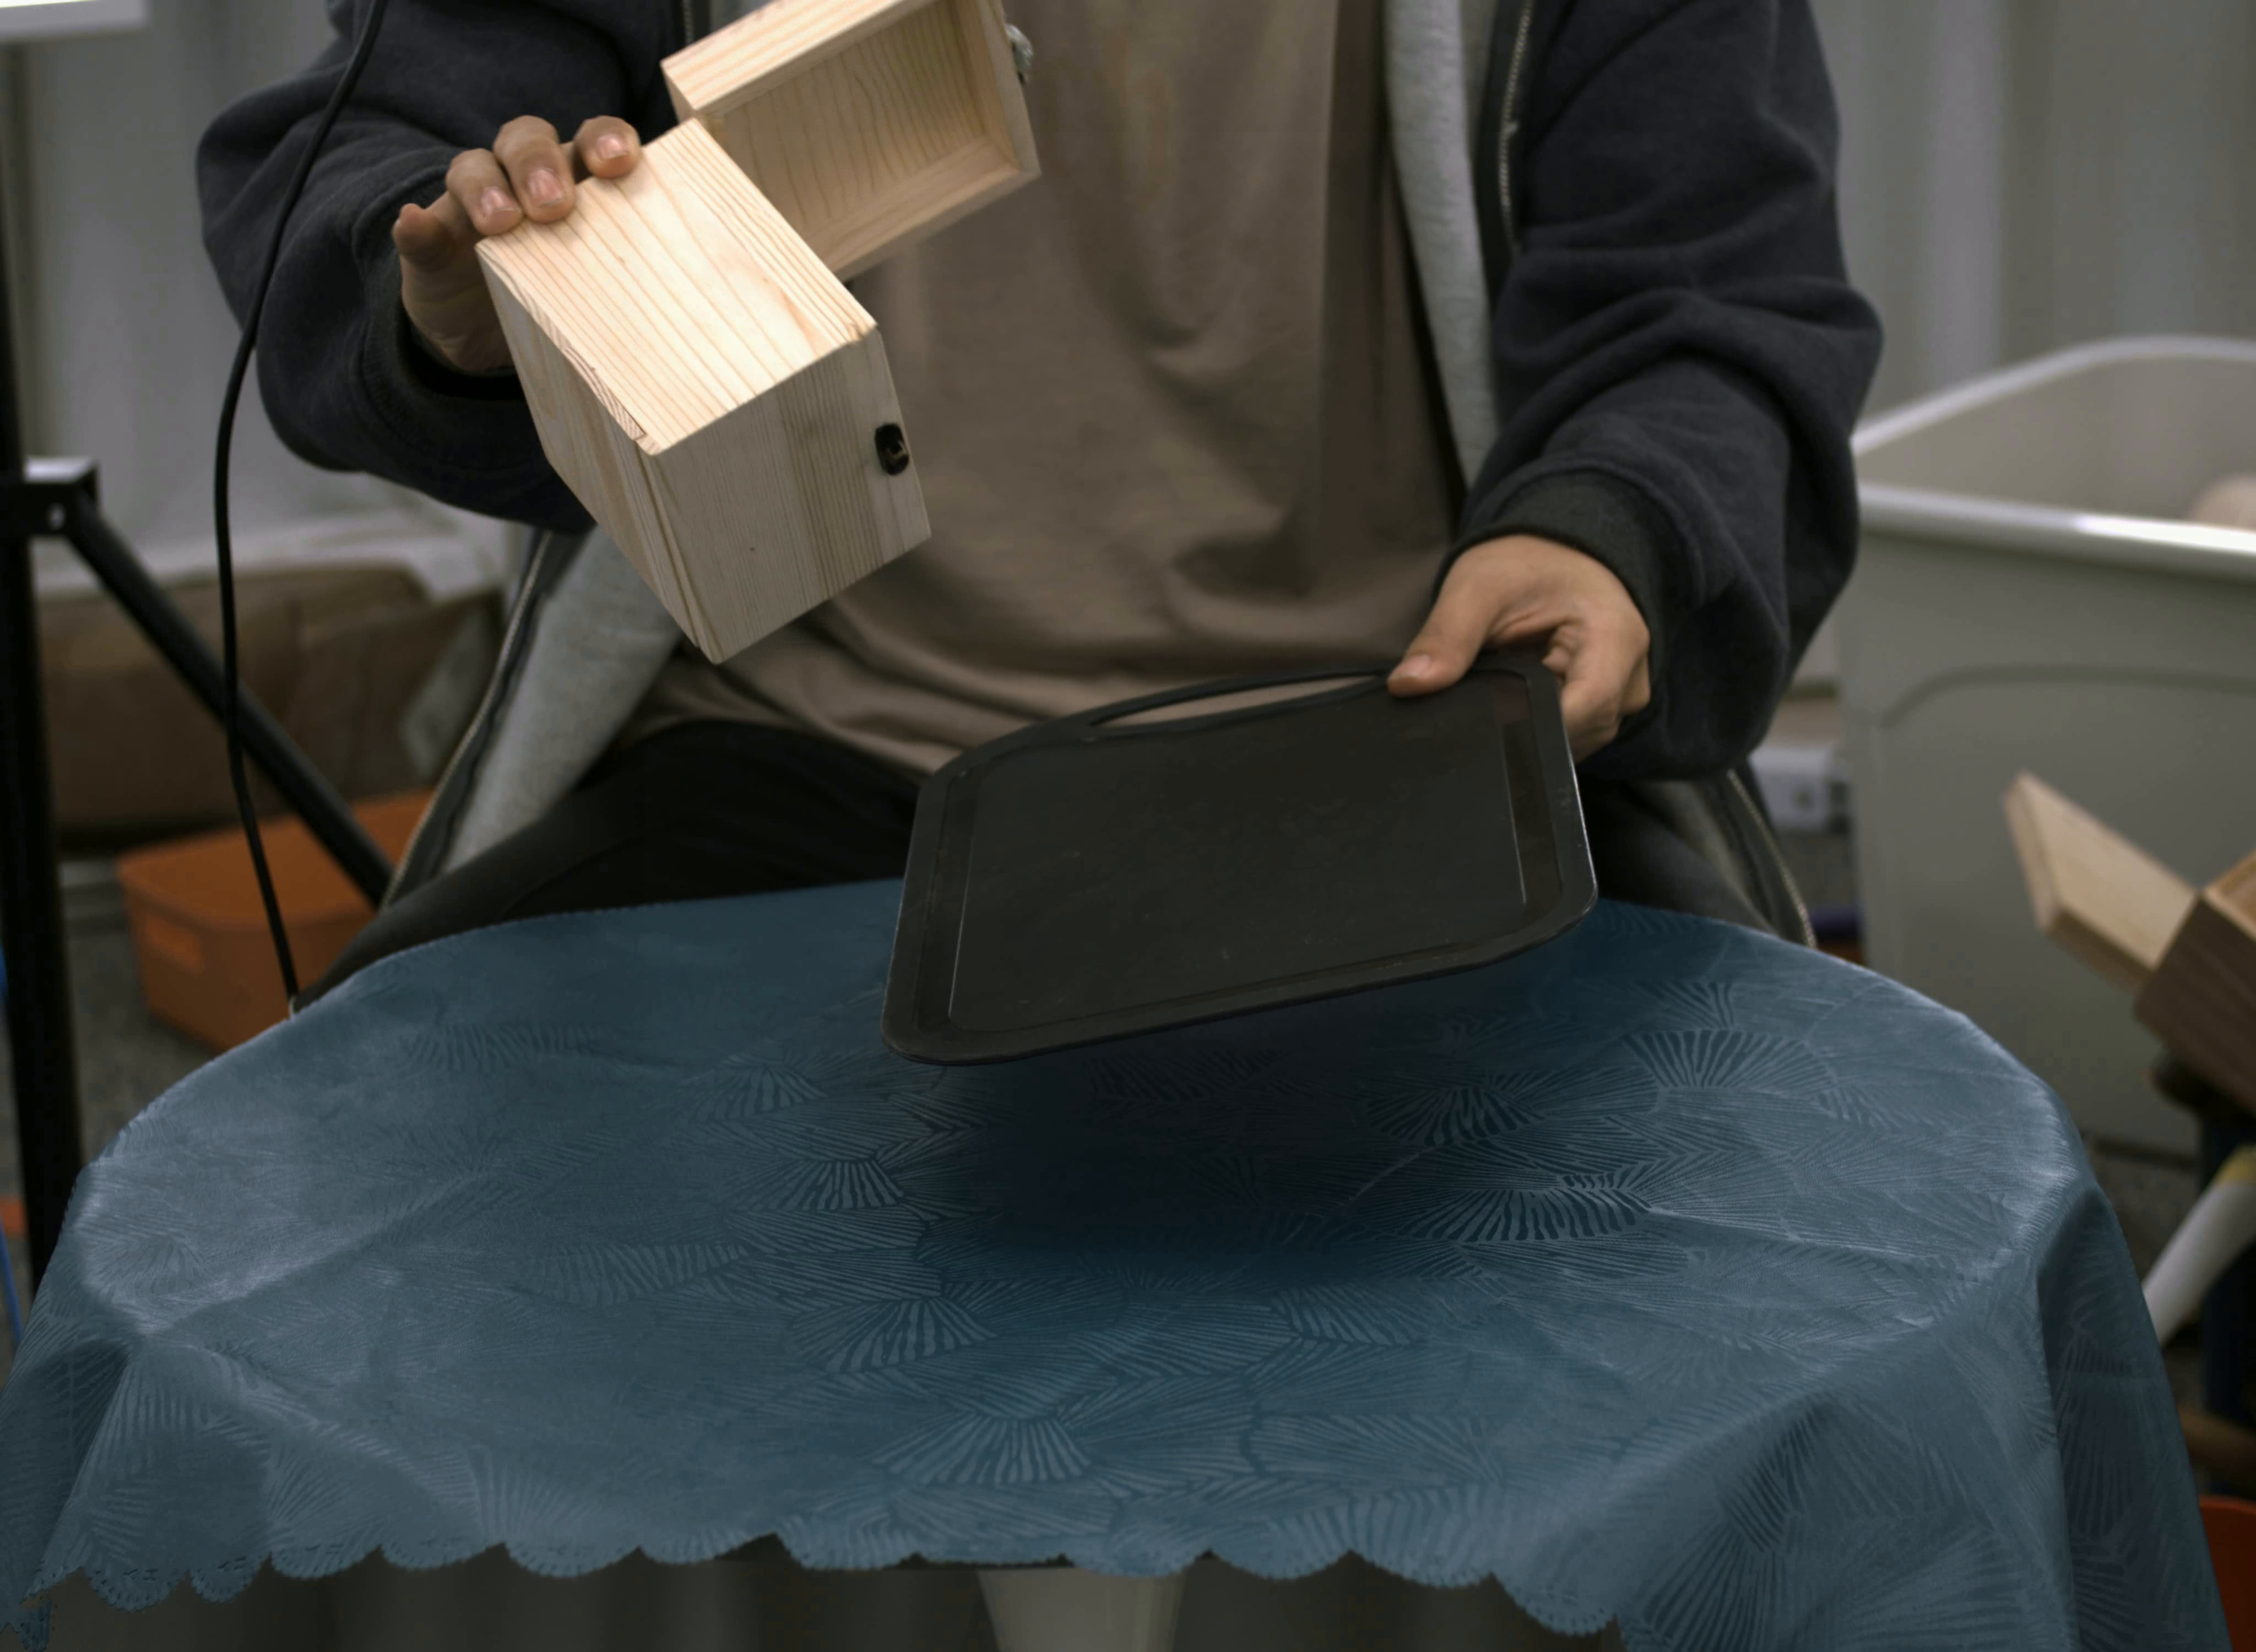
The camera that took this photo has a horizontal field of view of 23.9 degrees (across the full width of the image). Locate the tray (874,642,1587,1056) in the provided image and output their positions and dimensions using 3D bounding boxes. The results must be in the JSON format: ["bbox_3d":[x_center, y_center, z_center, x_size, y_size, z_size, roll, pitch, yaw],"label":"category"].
[{"bbox_3d":[0.032,0.000,1.628,0.211,0.010,0.326,-11,18,6],"label":"tray"}]

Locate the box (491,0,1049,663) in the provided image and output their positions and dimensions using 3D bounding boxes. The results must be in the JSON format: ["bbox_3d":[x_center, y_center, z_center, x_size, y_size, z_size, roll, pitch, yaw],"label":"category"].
[{"bbox_3d":[-0.082,-0.161,1.584,0.183,0.101,0.136,-33,56,-12],"label":"box"}]
